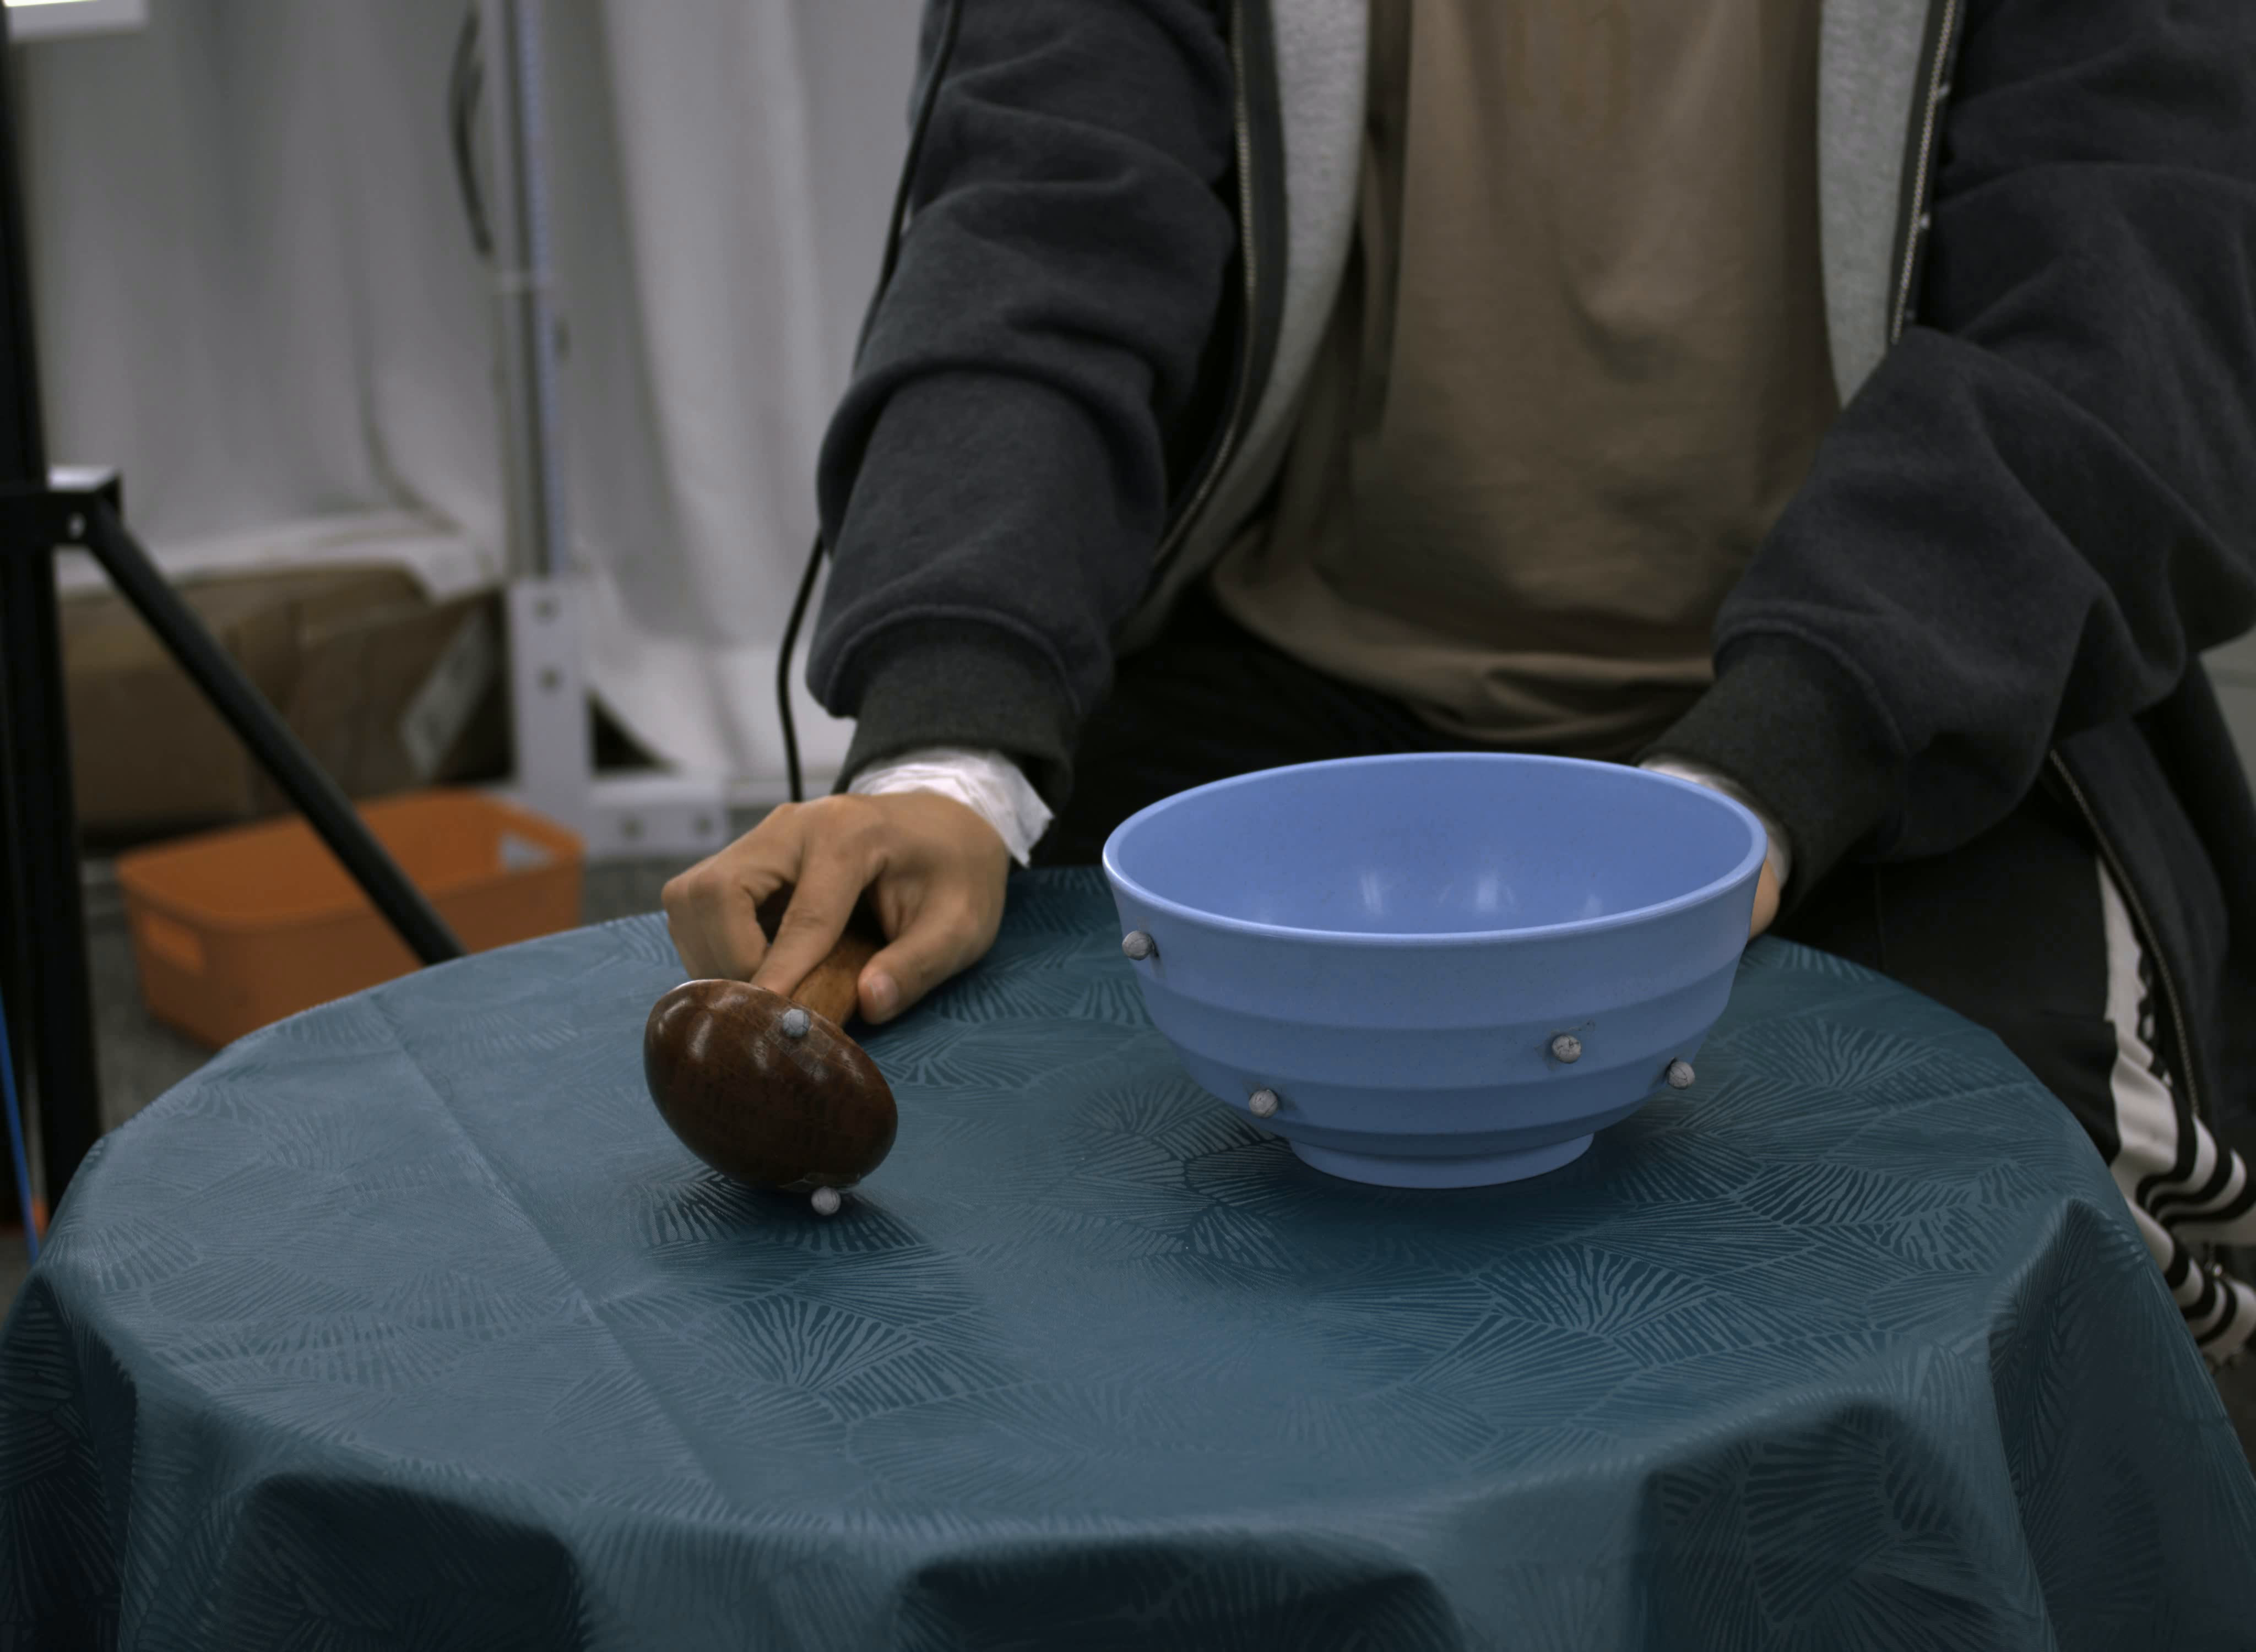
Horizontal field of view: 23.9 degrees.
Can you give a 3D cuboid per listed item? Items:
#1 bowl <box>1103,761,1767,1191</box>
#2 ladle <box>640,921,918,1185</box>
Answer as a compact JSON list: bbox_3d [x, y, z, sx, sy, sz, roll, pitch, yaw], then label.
[{"bbox_3d":[0.092,0.050,1.580,0.195,0.095,0.197,-3,15,-1],"label":"bowl"},{"bbox_3d":[-0.090,0.047,1.656,0.082,0.077,0.273,35,18,0],"label":"ladle"}]
